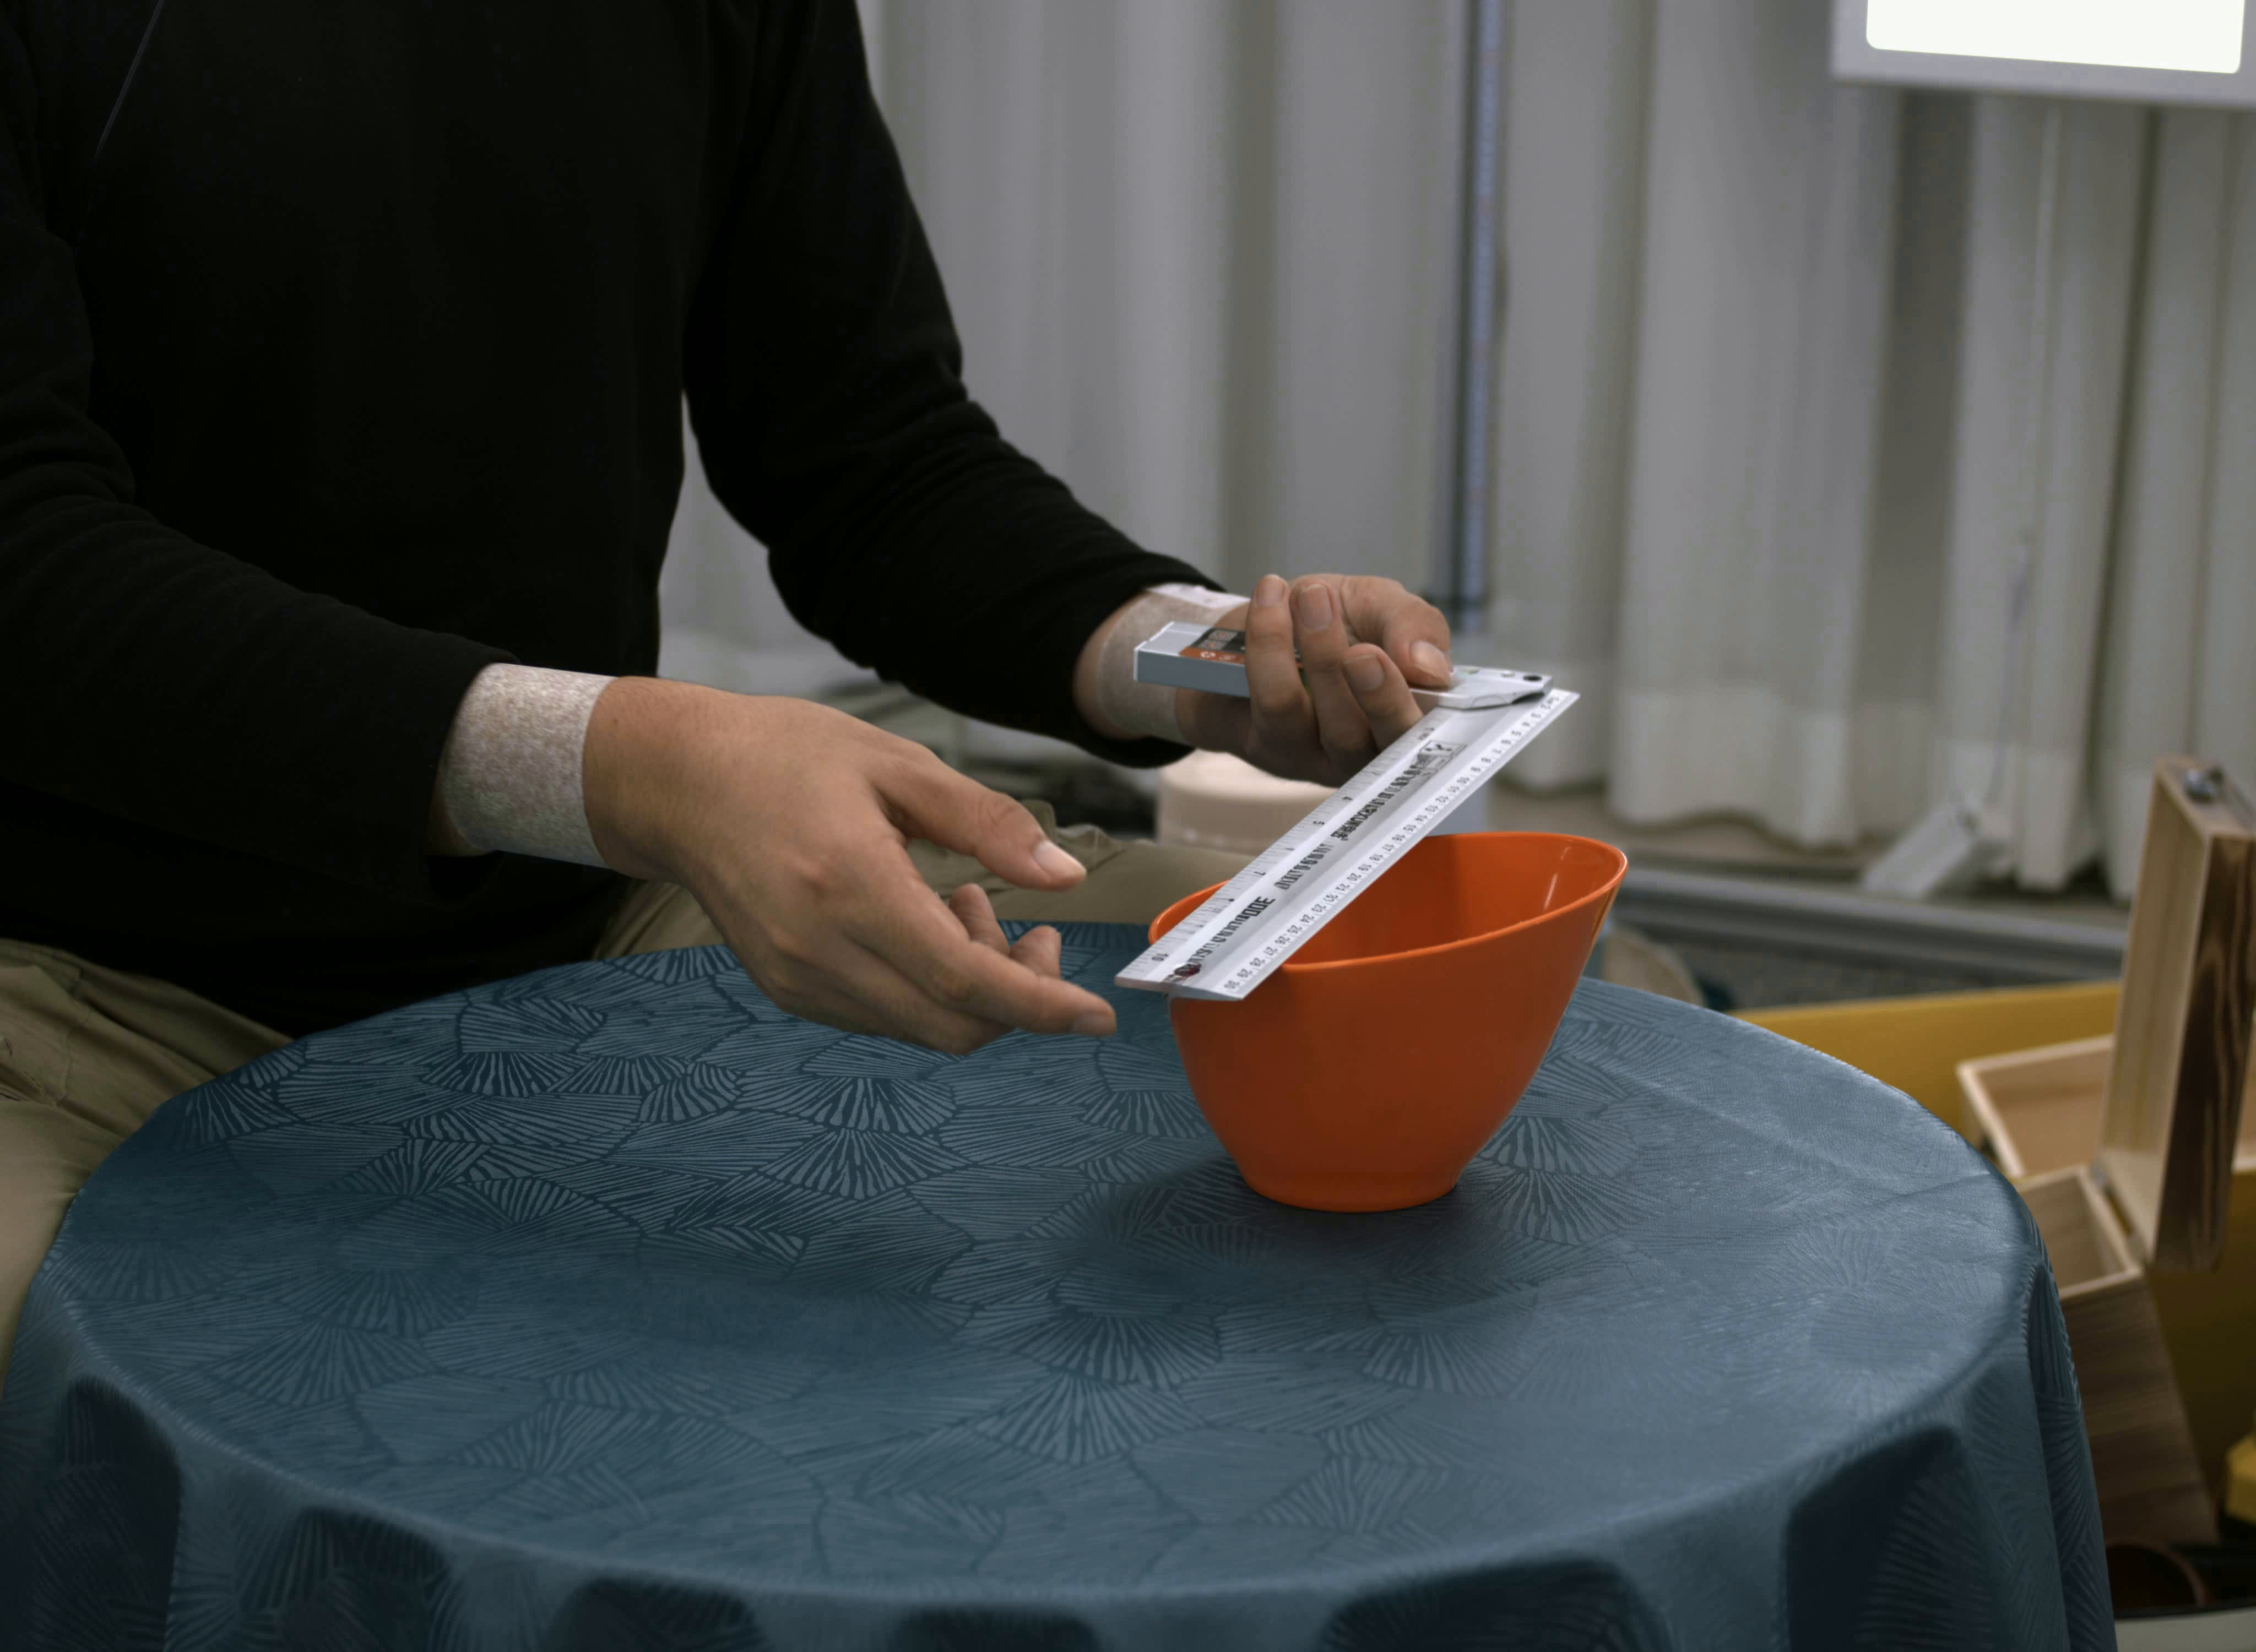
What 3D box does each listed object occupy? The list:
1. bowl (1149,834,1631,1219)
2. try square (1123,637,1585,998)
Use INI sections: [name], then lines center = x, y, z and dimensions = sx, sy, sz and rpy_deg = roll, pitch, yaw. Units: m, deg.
[bowl]
center = 0.080, 0.062, 1.616
dimensions = 0.147, 0.105, 0.147
rpy_deg = -1, 17, 1
[try square]
center = 0.027, -0.006, 1.677
dimensions = 0.151, 0.016, 0.313
rpy_deg = 6, 20, 22
